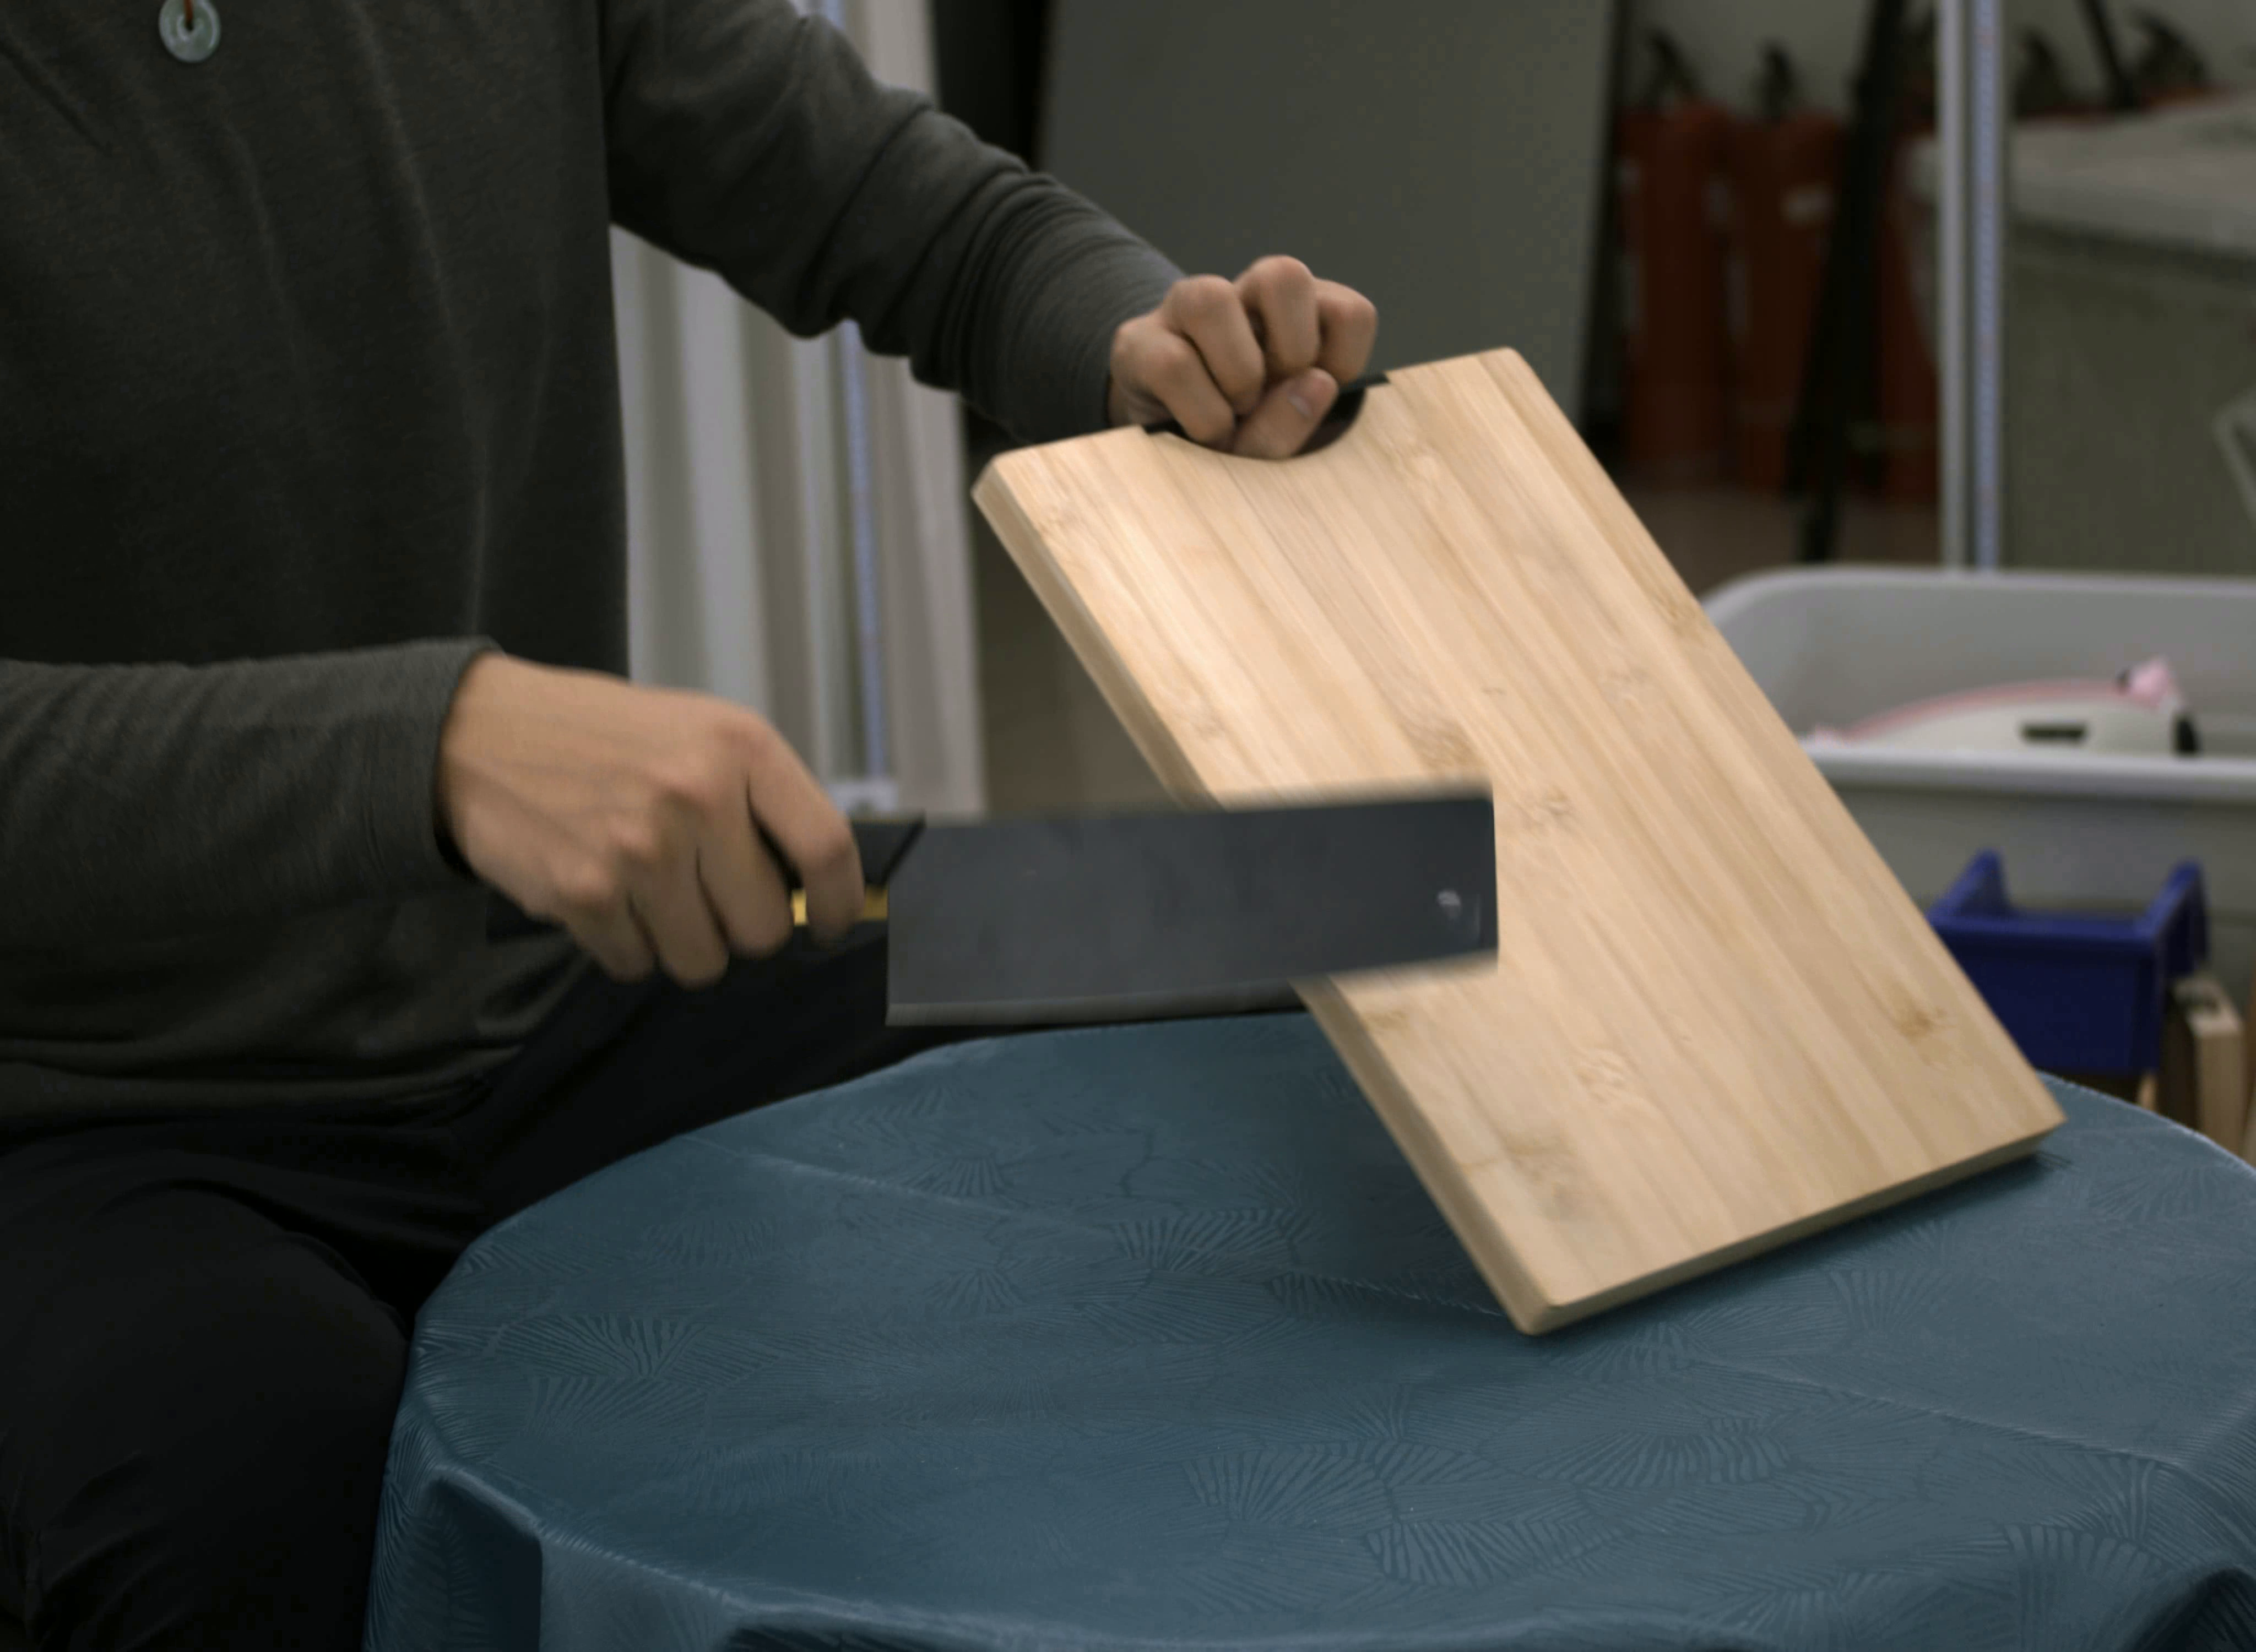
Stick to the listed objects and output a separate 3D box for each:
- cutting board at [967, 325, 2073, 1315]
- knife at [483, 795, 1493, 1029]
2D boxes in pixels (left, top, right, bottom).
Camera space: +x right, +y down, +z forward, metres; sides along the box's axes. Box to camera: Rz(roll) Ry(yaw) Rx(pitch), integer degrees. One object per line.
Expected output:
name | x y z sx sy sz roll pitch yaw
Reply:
cutting board | 0.126 -0.011 1.741 0.245 0.024 0.352 -15 61 -38
knife | -0.041 0.025 1.572 0.300 0.081 0.021 0 -31 11
